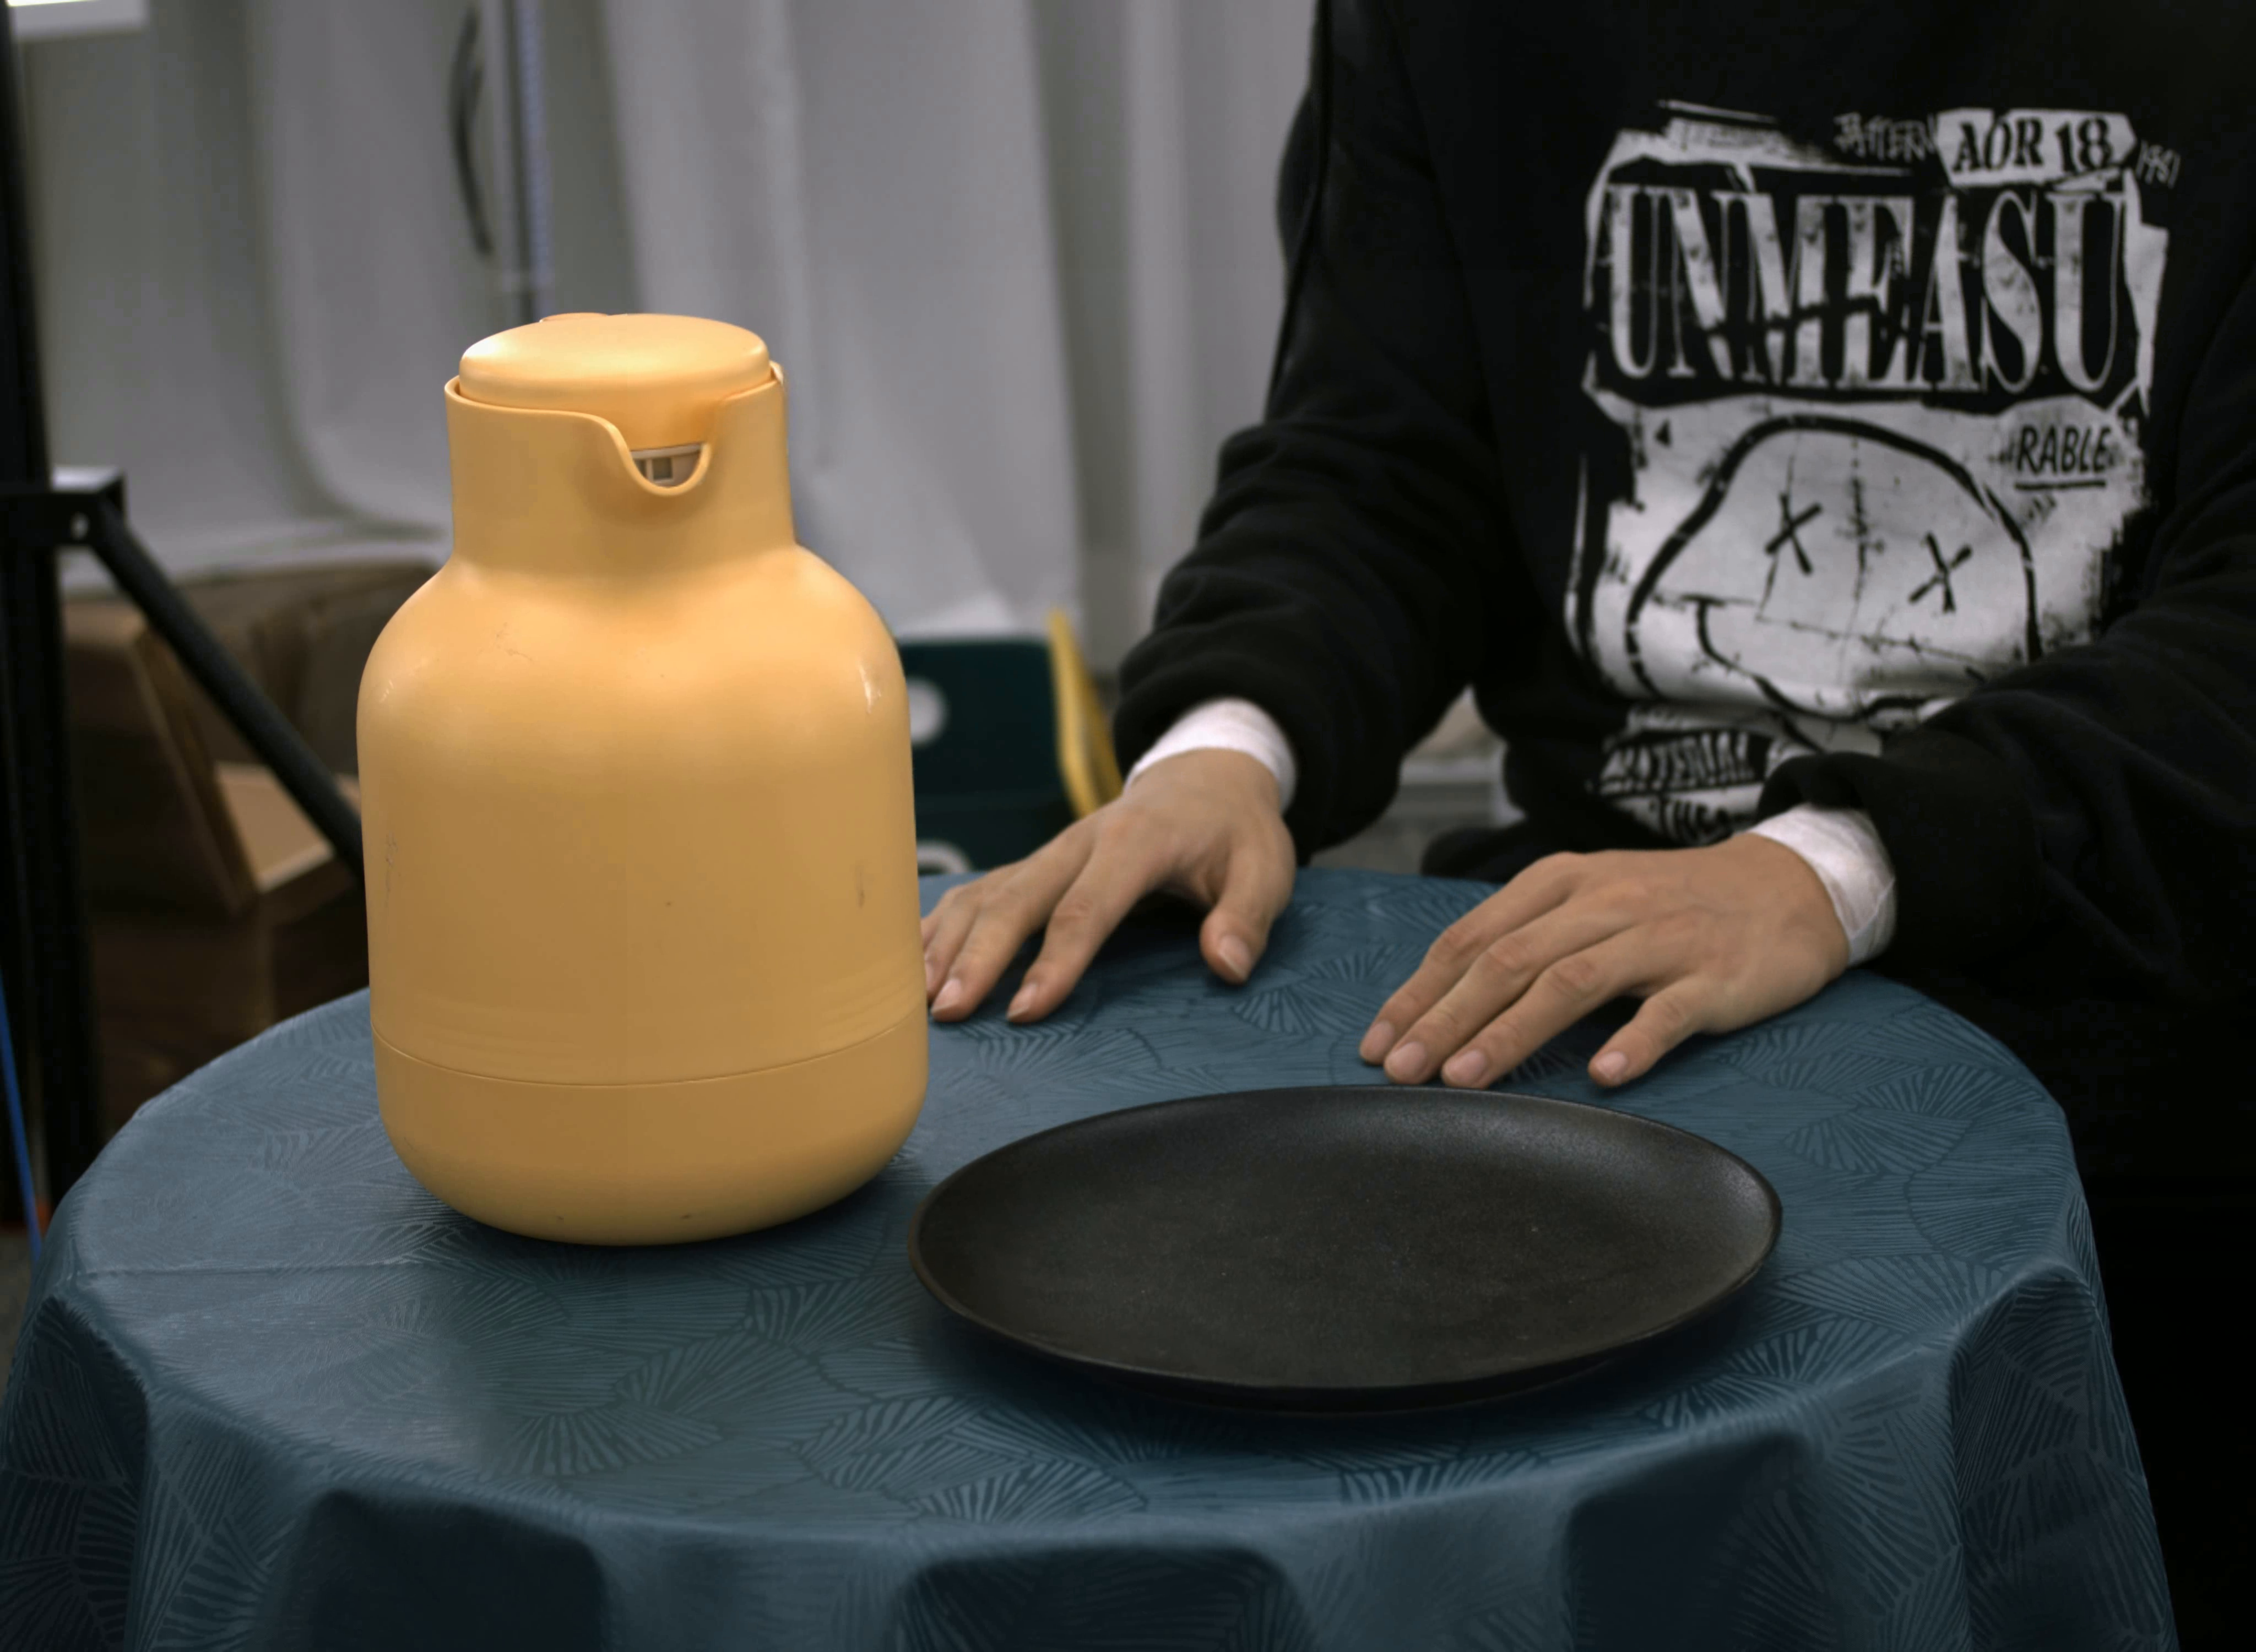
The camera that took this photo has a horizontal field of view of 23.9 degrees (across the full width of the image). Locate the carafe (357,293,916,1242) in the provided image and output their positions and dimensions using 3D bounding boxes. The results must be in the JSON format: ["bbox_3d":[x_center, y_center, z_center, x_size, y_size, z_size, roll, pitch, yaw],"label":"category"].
[{"bbox_3d":[-0.147,-0.025,1.569,0.161,0.260,0.205,-3,17,-13],"label":"carafe"}]

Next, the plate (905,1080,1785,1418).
[{"bbox_3d":[0.060,0.119,1.462,0.243,0.023,0.245,-3,16,-1],"label":"plate"}]
